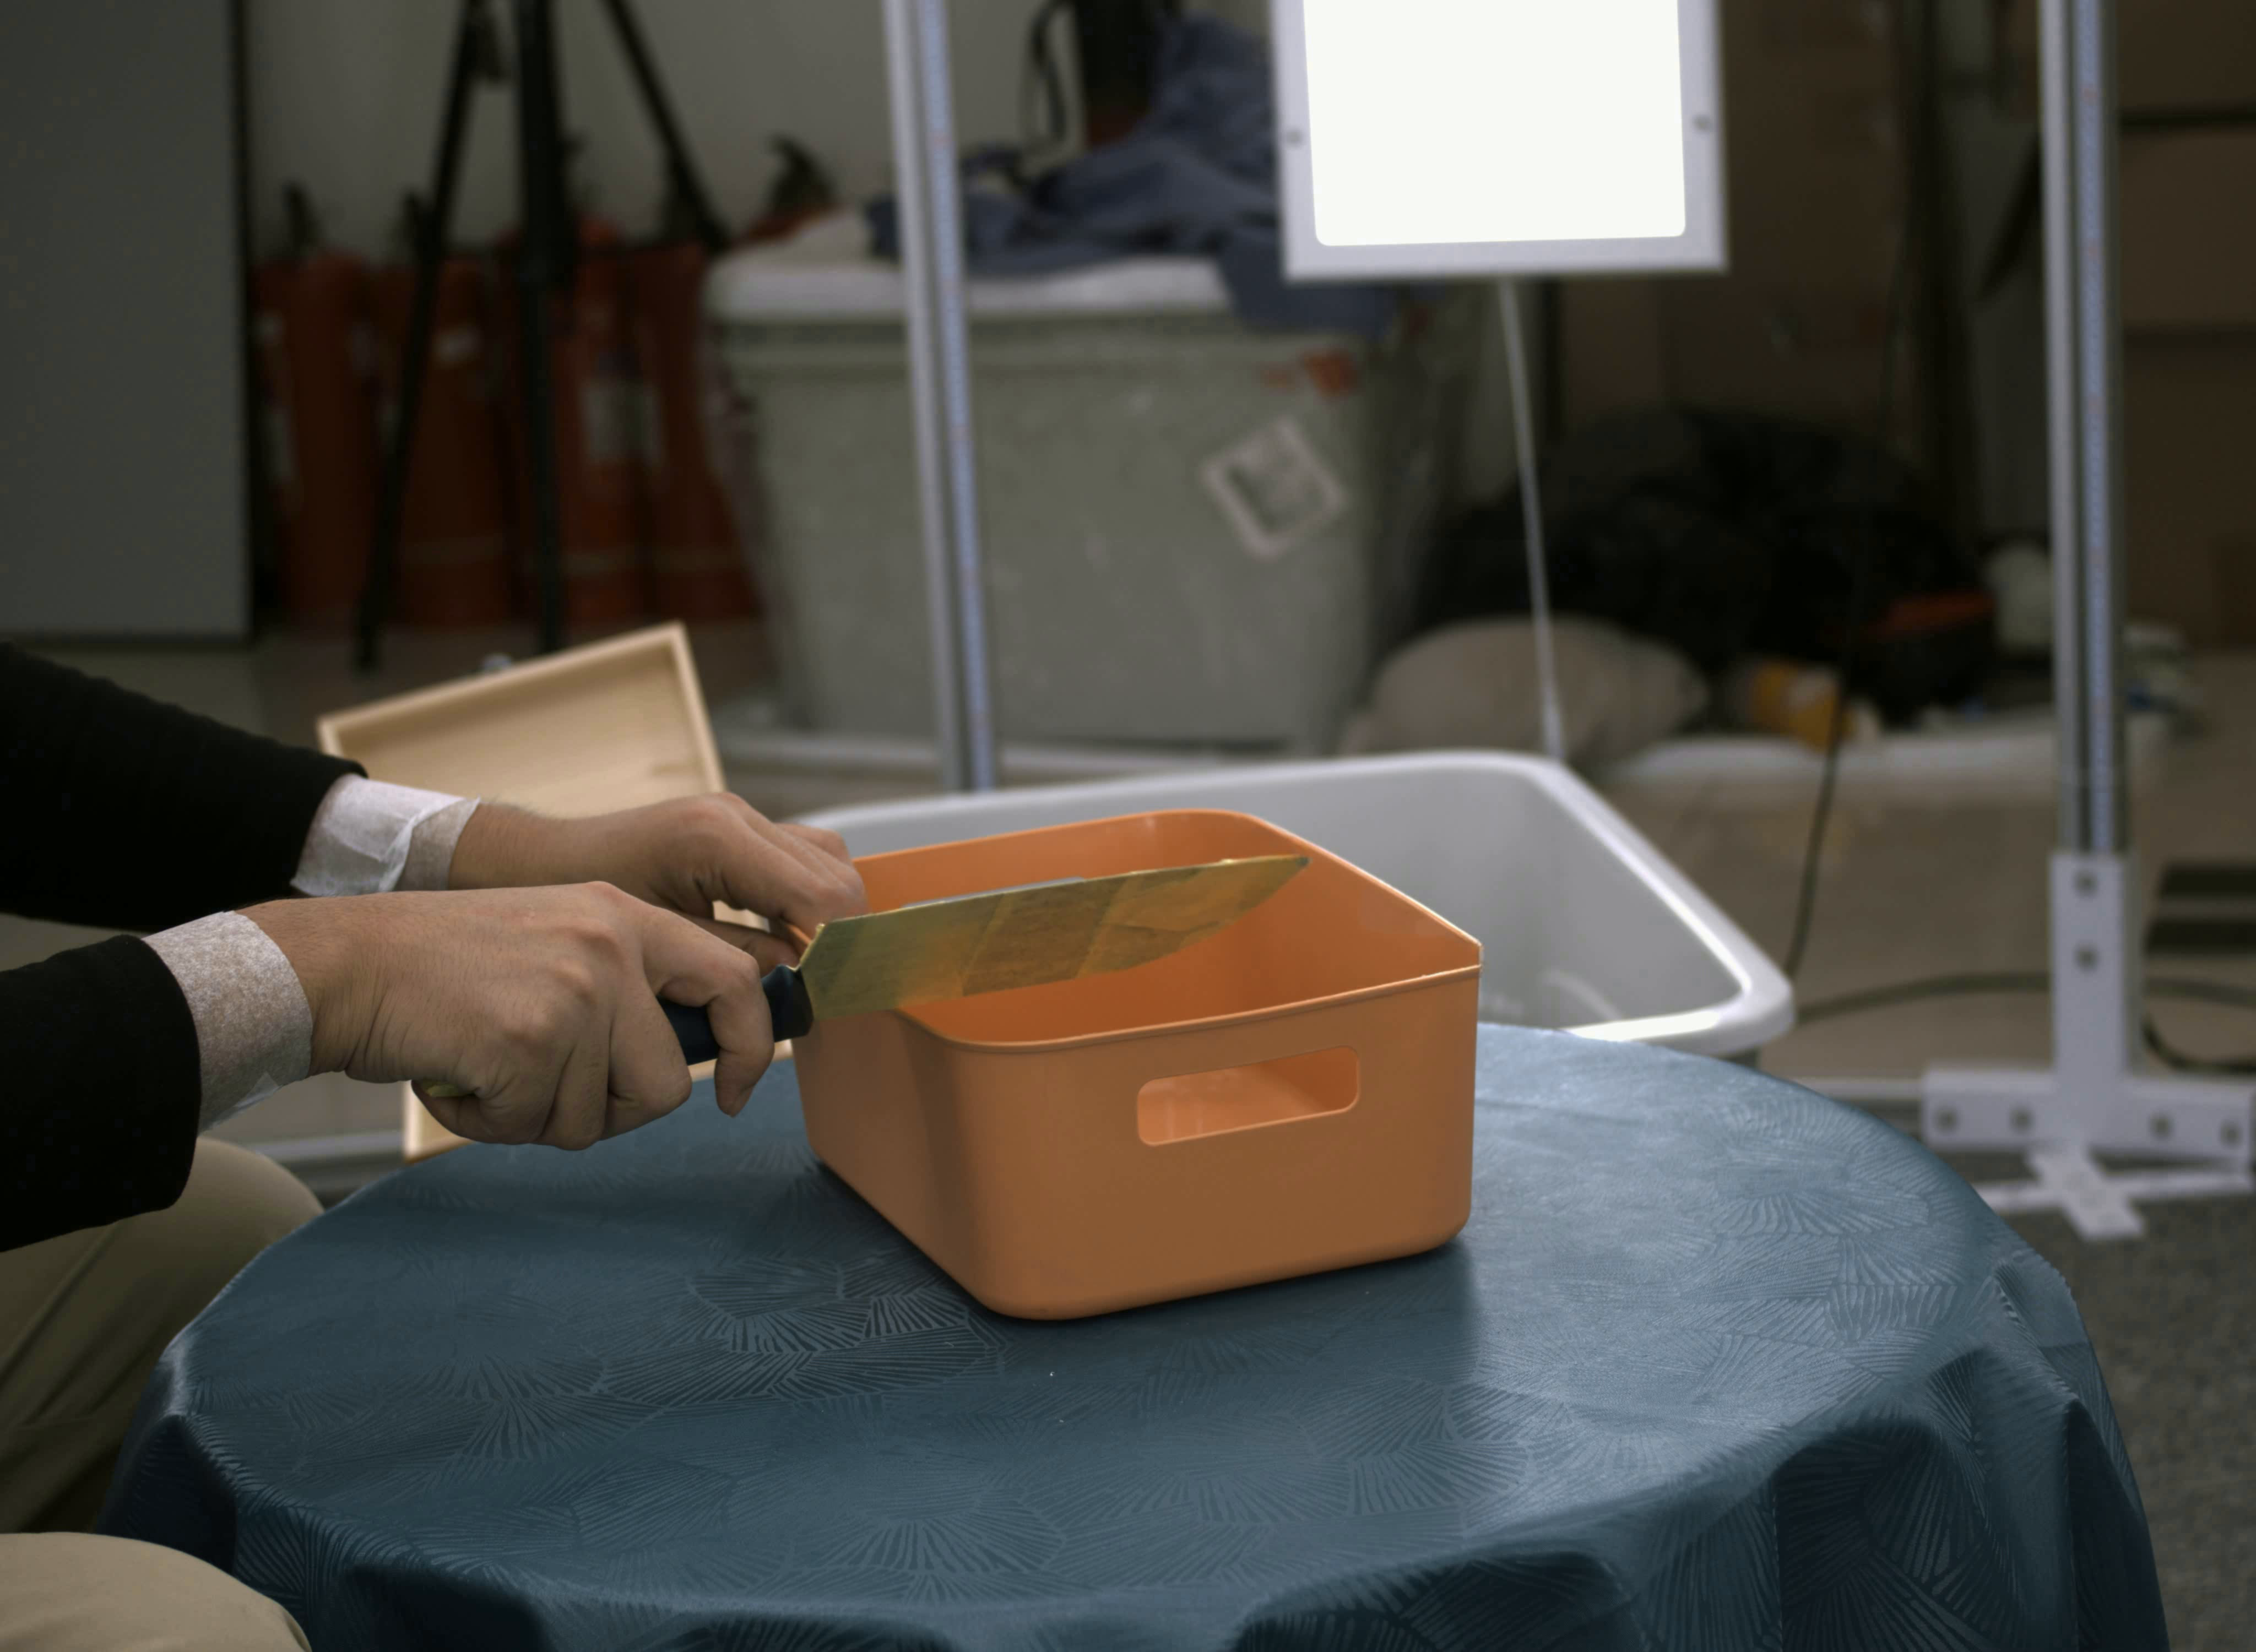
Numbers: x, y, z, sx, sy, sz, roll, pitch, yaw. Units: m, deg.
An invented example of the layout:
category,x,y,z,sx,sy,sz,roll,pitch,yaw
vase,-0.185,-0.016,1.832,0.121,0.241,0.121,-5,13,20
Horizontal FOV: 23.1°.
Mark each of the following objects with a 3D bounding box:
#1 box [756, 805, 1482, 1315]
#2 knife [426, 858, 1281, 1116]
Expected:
category,x,y,z,sx,sy,sz,roll,pitch,yaw
box,-0.006,0.078,1.880,0.196,0.103,0.276,-8,14,-17
knife,-0.082,0.048,1.748,0.284,0.027,0.082,-13,-28,-18
